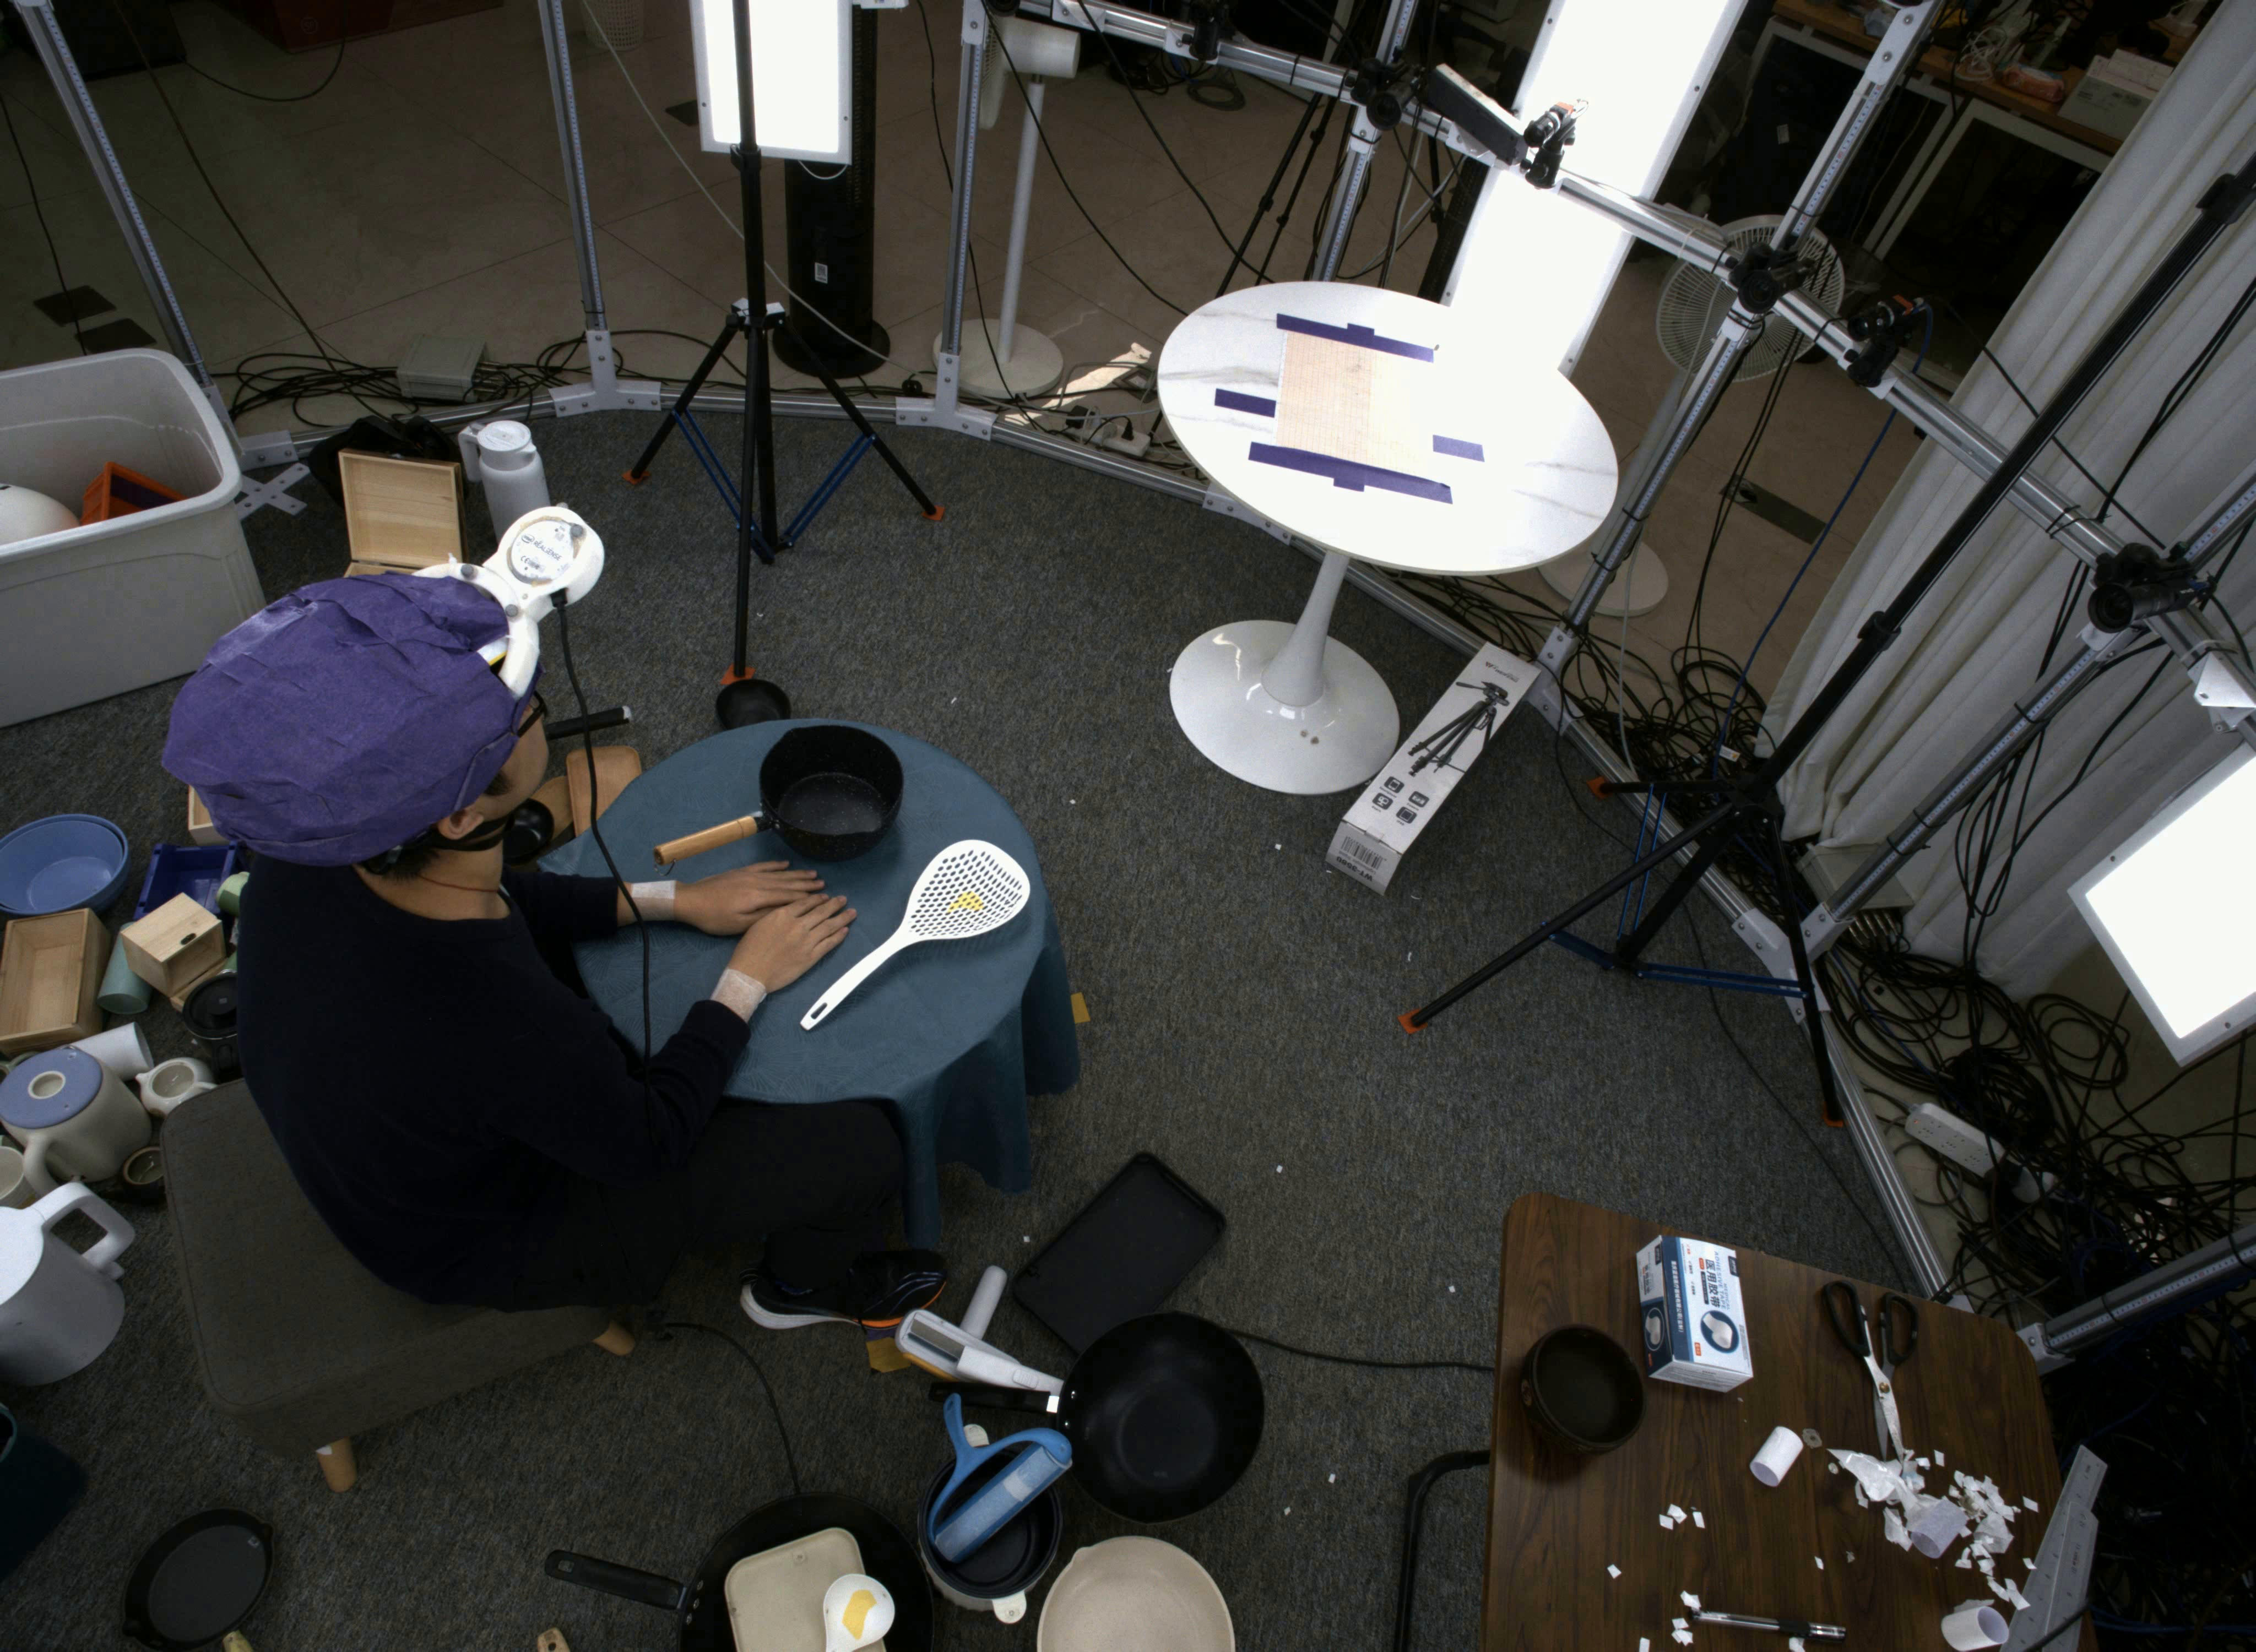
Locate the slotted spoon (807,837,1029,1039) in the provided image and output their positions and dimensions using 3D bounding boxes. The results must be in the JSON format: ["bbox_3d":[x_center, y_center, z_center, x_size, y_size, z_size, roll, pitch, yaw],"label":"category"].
[{"bbox_3d":[-0.269,0.139,1.623,0.134,0.051,0.348,40,53,15],"label":"slotted spoon"}]

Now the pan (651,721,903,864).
[{"bbox_3d":[-0.445,-0.010,1.646,0.344,0.110,0.203,-32,67,-33],"label":"pan"}]
